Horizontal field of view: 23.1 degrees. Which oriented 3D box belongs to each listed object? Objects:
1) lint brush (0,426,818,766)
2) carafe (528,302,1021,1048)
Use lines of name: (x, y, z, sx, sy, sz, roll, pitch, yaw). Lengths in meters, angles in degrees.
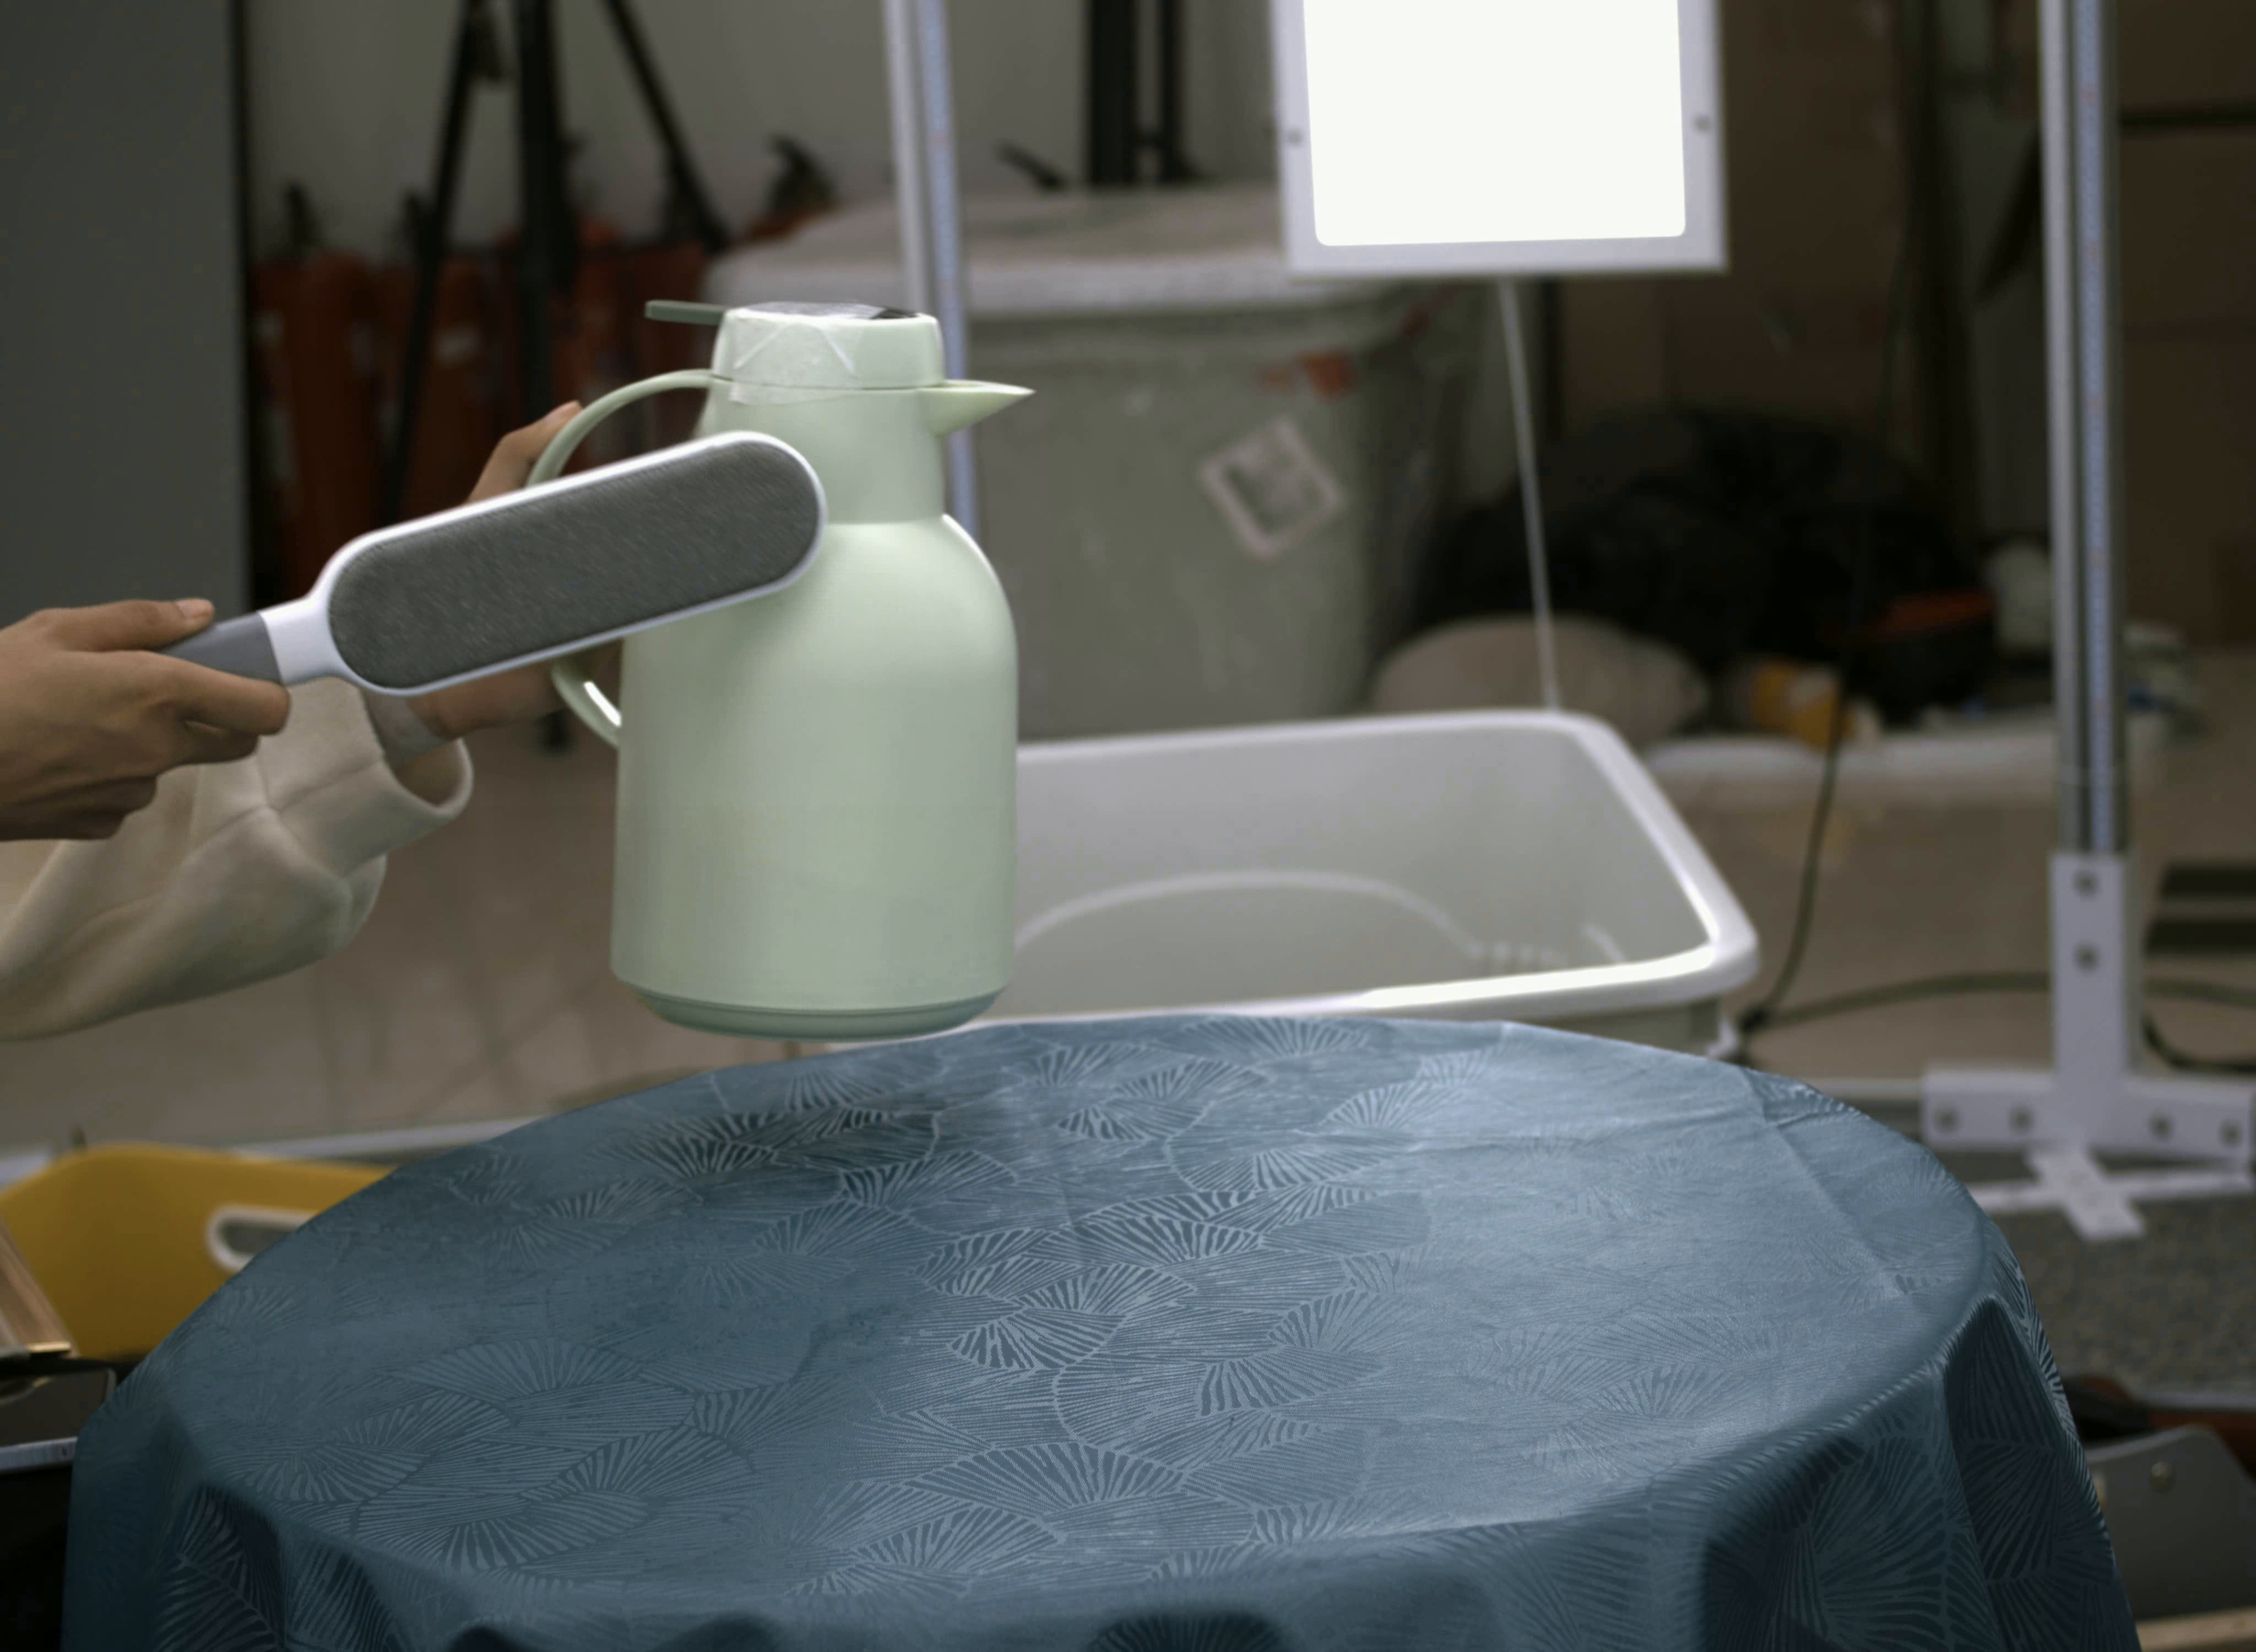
lint brush: (-0.248, -0.073, 1.846, 0.304, 0.060, 0.021, -18, 11, -15)
carafe: (-0.124, -0.057, 1.966, 0.188, 0.258, 0.142, 0, 11, 12)
